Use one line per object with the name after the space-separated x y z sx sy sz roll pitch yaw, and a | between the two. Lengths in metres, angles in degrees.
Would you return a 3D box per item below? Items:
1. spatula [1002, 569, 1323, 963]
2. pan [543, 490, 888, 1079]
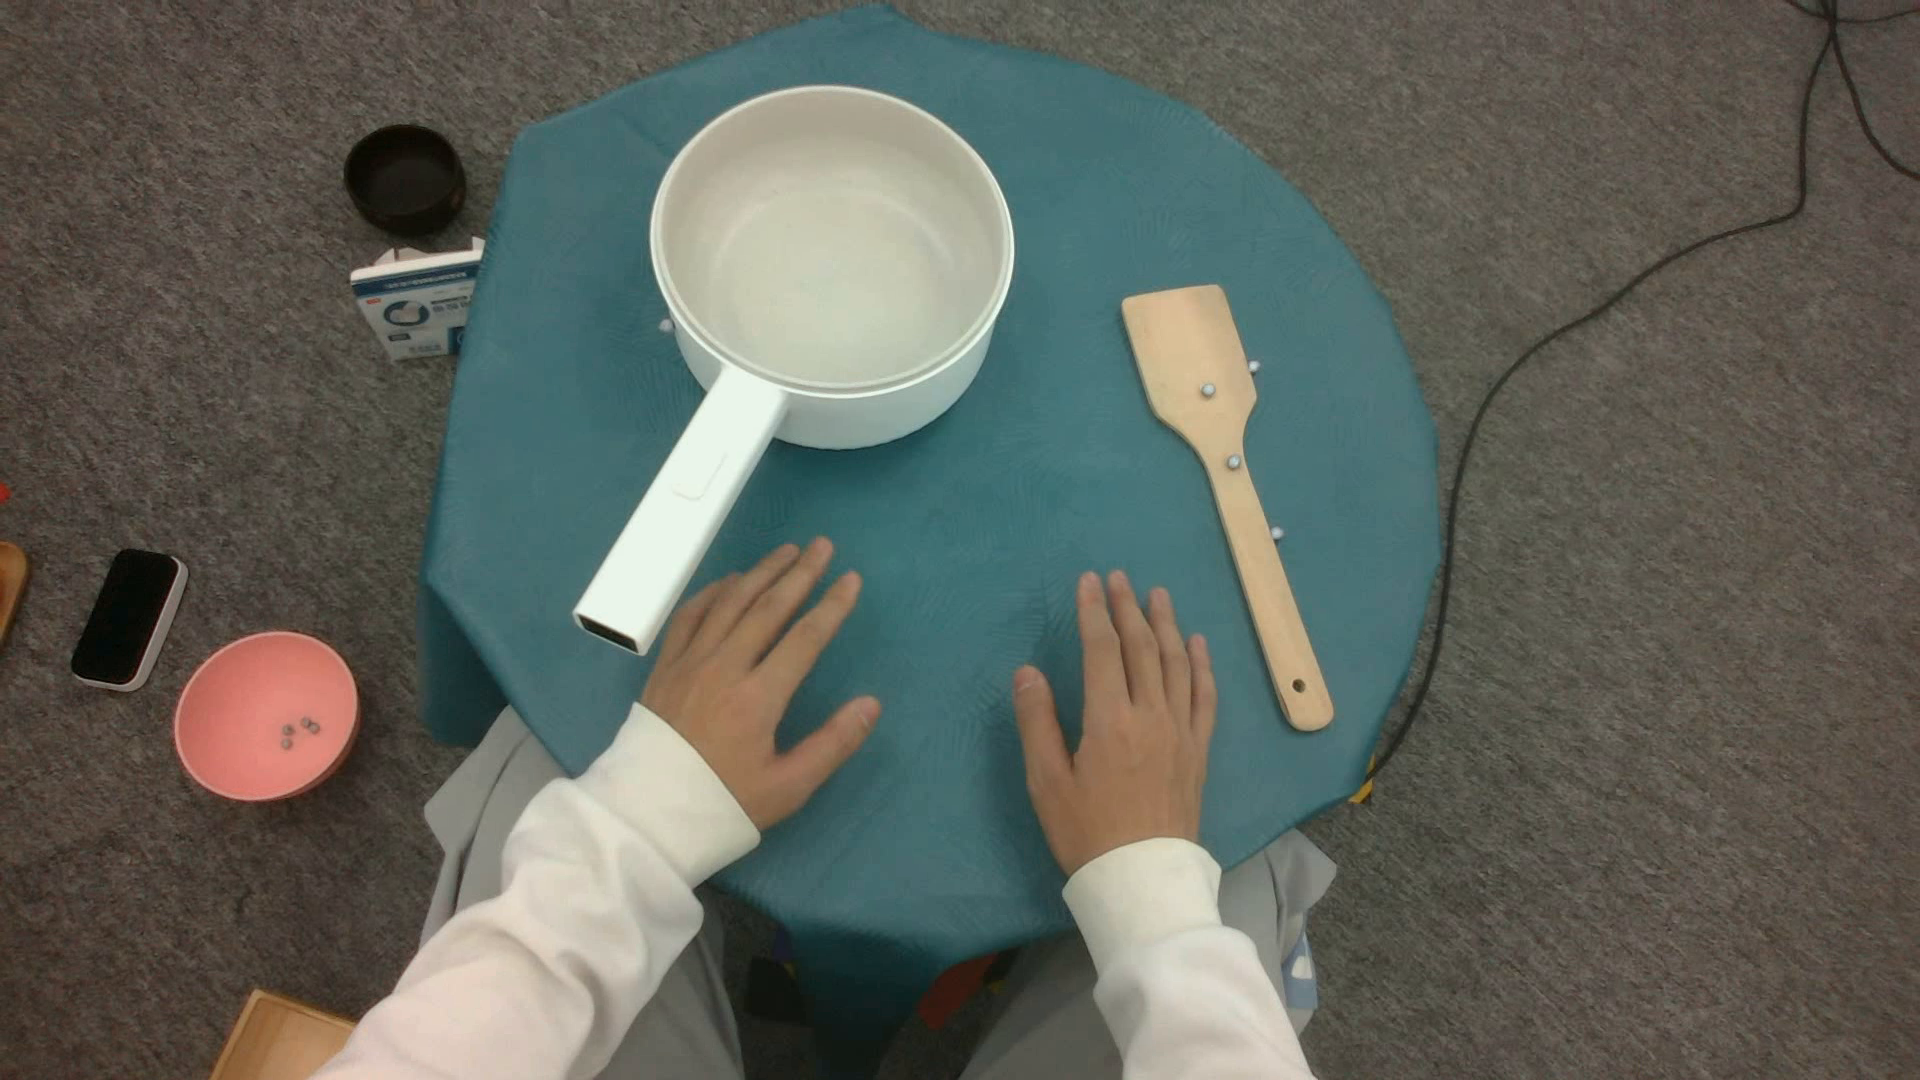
0.127 0.133 0.852 0.072 0.010 0.293 -23 56 -18 | spatula
-0.154 0.139 0.799 0.201 0.101 0.356 7 55 4 | pan
